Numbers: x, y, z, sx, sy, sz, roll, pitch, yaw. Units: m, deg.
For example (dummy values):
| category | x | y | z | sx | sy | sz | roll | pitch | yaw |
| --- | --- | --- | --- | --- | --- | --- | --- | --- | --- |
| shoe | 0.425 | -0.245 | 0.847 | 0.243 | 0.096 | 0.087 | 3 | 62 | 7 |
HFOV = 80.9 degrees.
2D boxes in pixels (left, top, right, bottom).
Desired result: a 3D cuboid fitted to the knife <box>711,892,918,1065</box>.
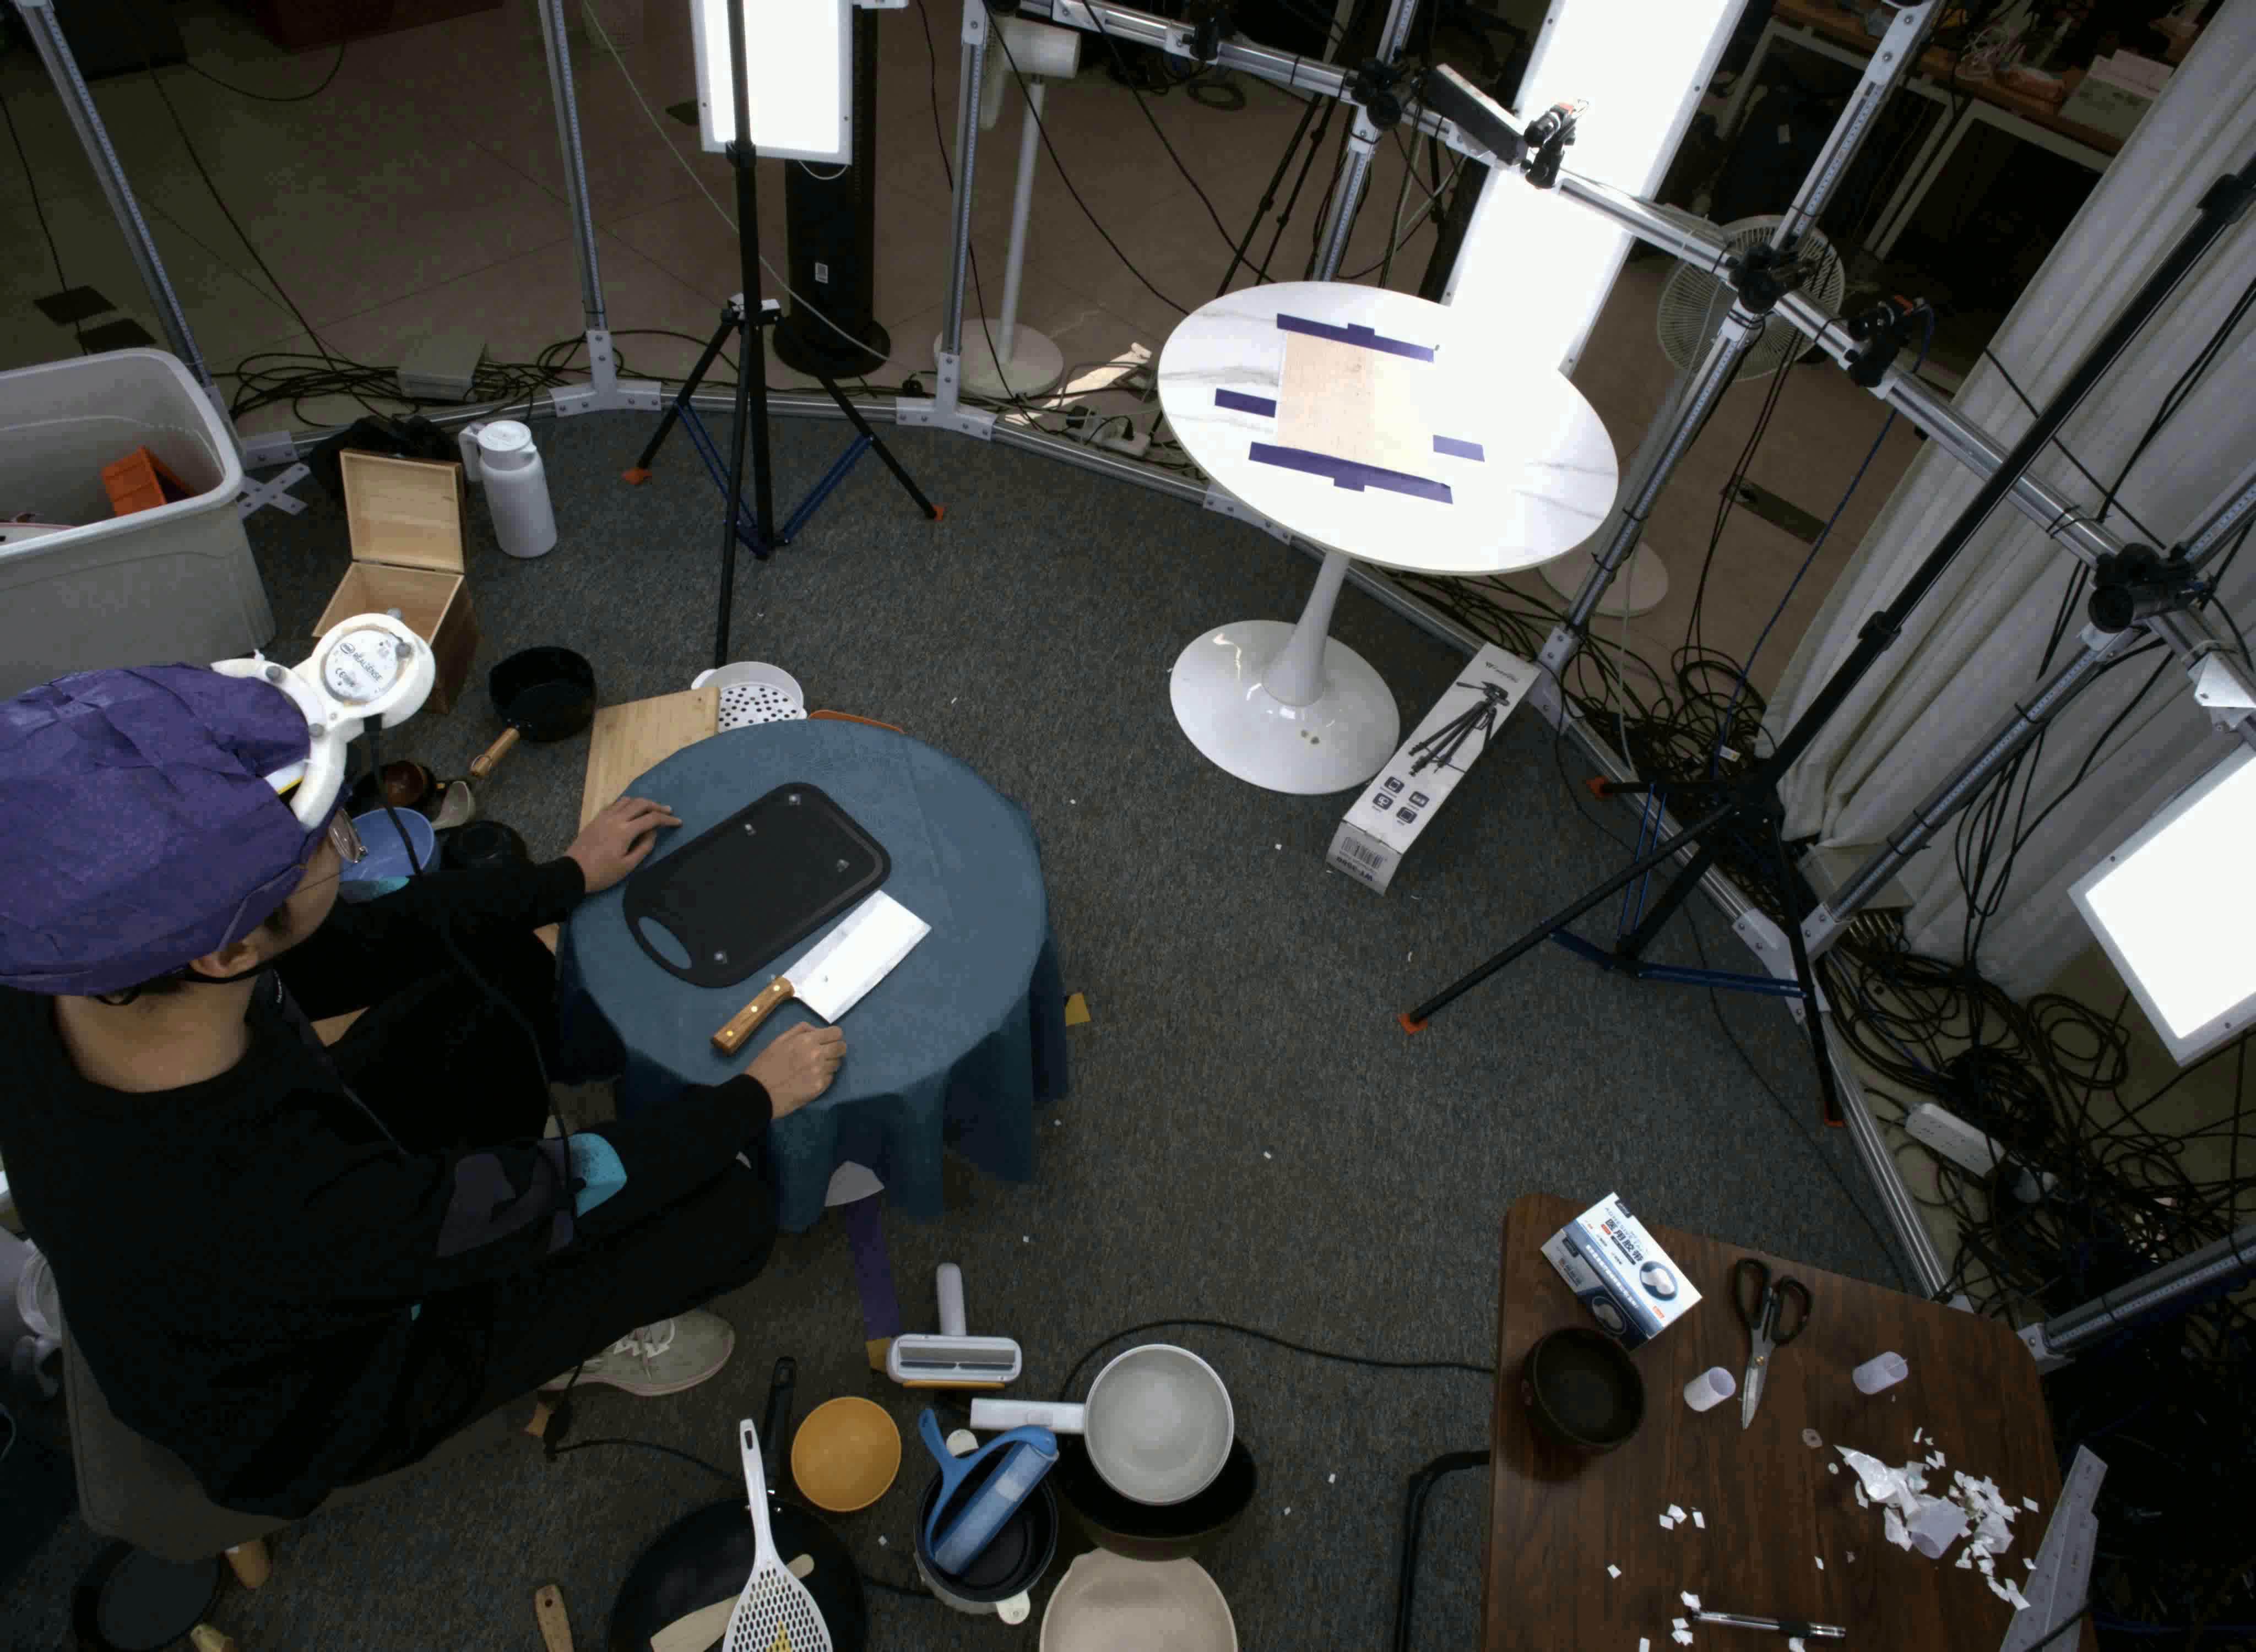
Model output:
| category | x | y | z | sx | sy | sz | roll | pitch | yaw |
| --- | --- | --- | --- | --- | --- | --- | --- | --- | --- |
| knife | -0.370 | 0.190 | 1.576 | 0.091 | 0.021 | 0.305 | 35 | 51 | 10 |

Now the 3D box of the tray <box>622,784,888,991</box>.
| category | x | y | z | sx | sy | sz | roll | pitch | yaw |
| --- | --- | --- | --- | --- | --- | --- | --- | --- | --- |
| tray | -0.476 | 0.073 | 1.641 | 0.206 | 0.010 | 0.326 | 41 | 54 | 16 |
